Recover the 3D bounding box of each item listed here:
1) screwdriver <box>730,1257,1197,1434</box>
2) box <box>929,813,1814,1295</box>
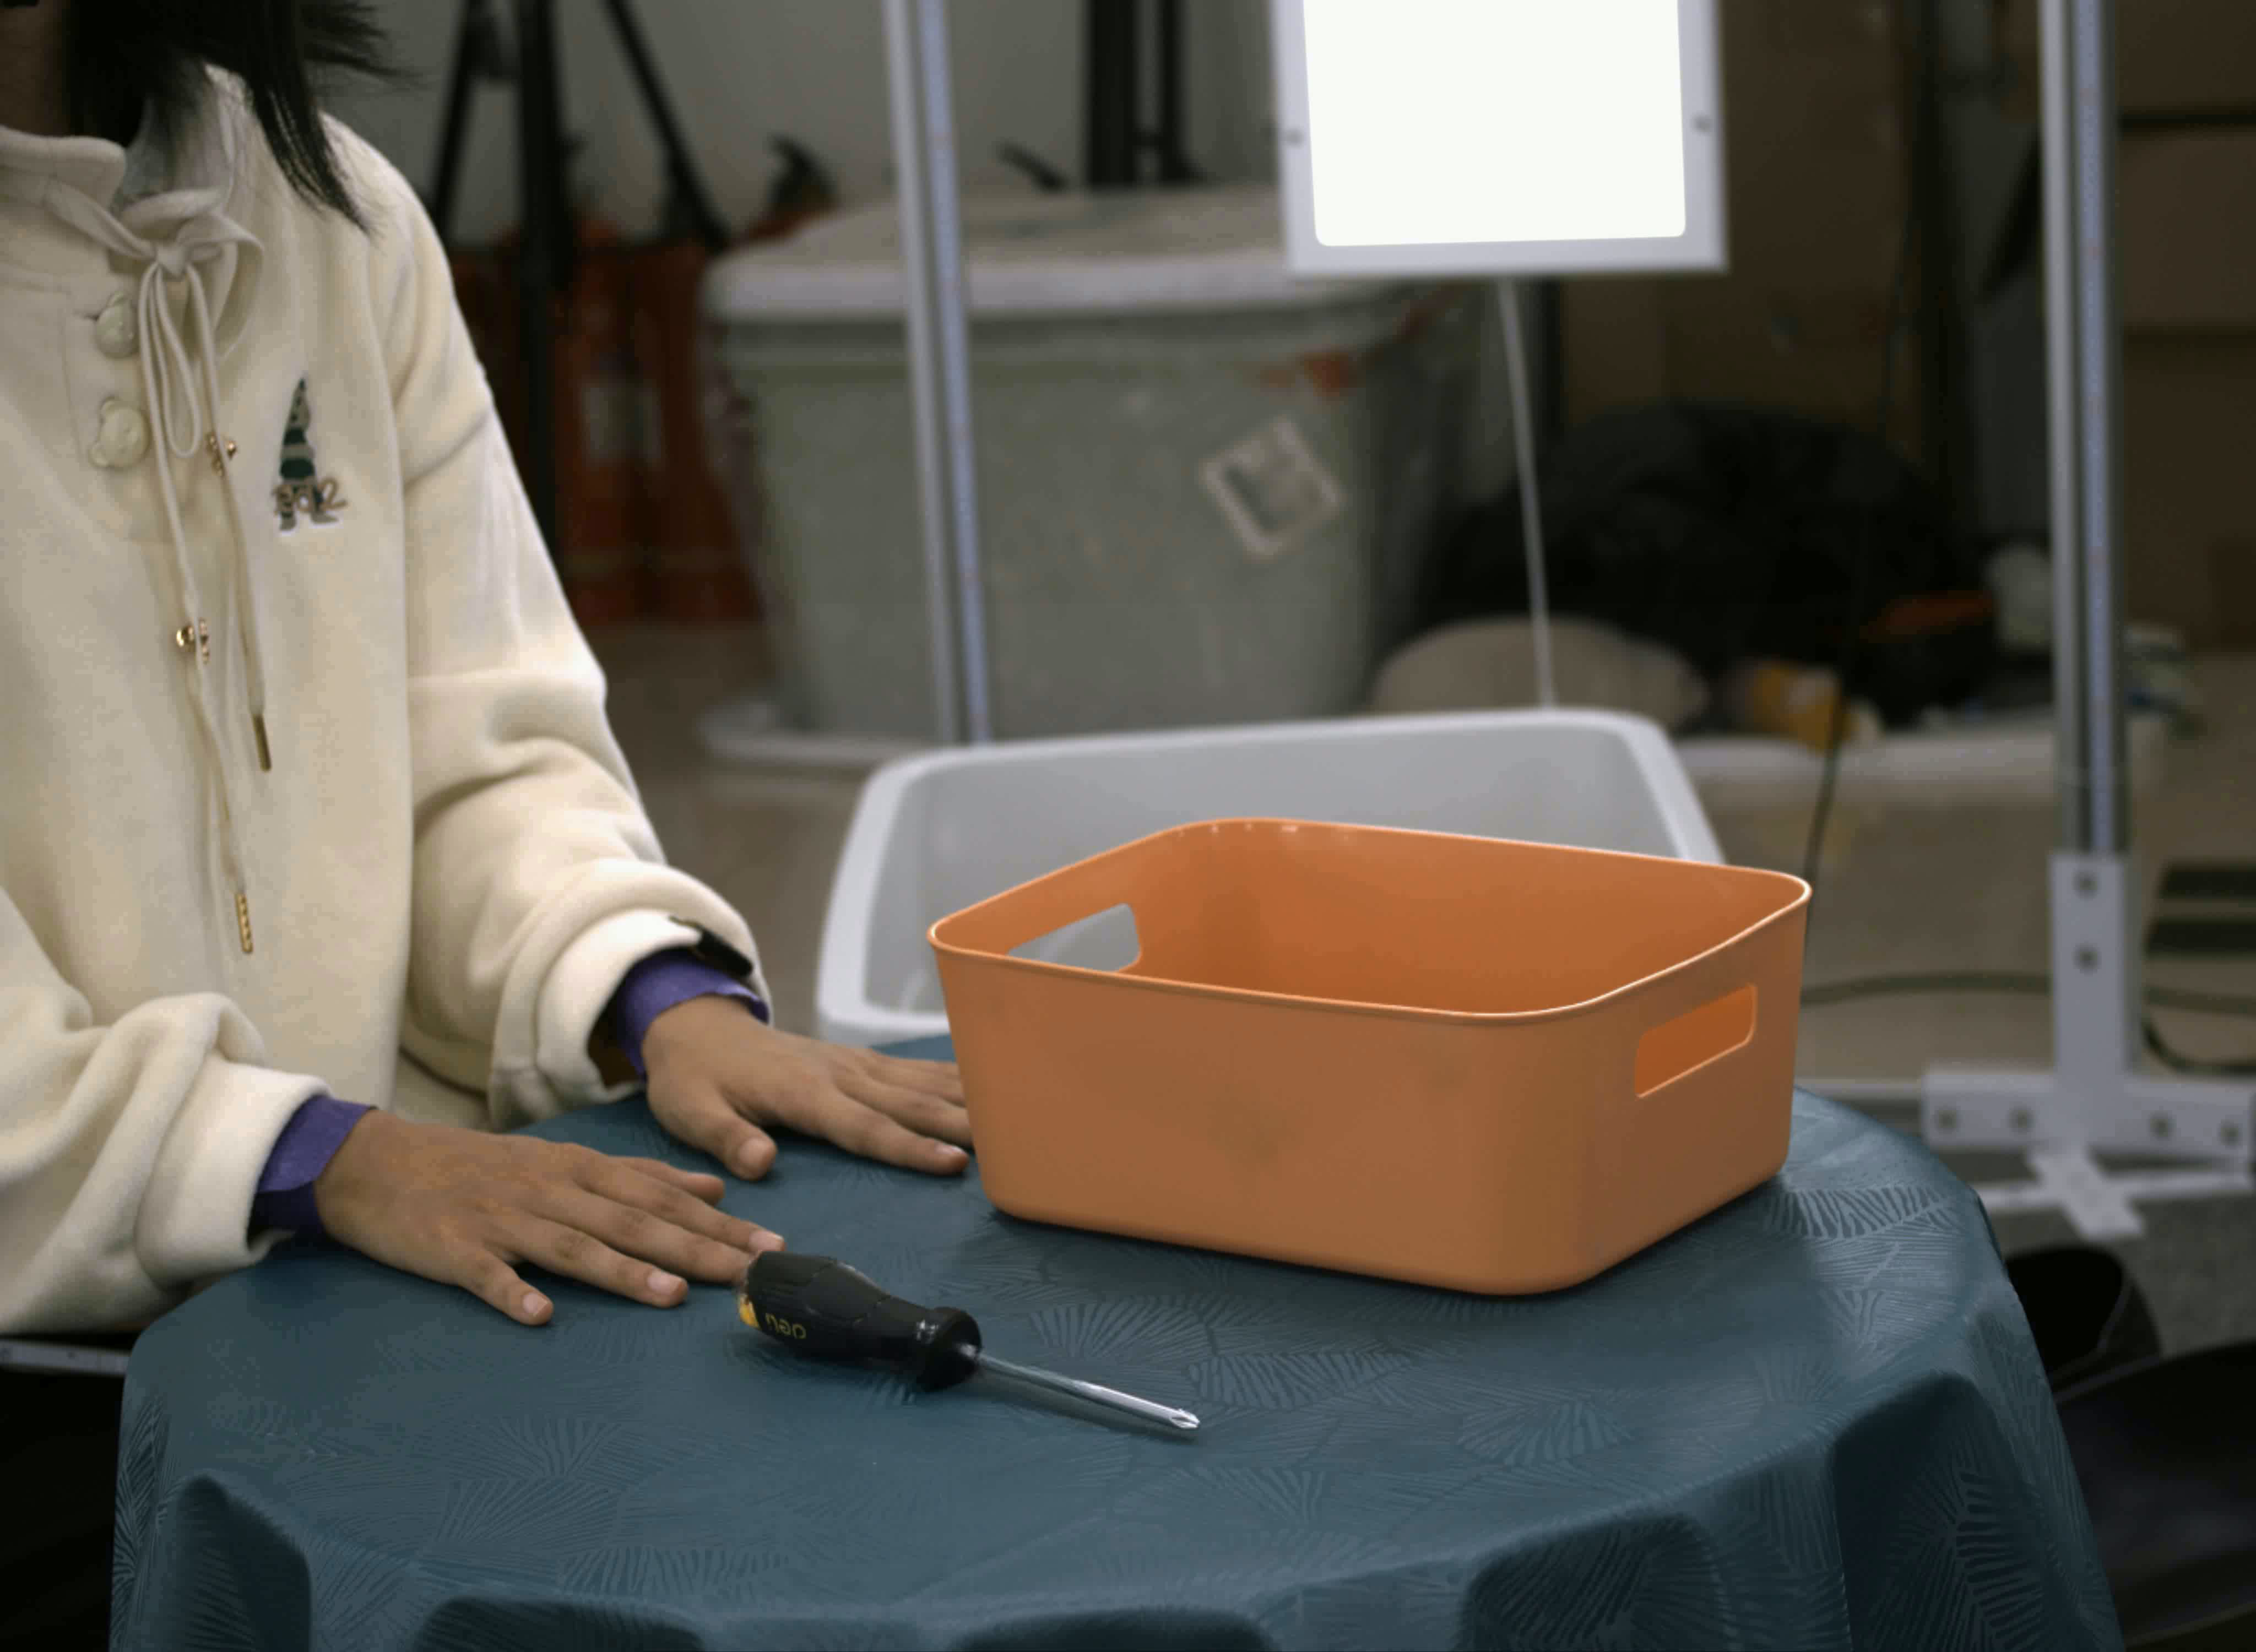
[{"bbox_3d":[-0.053,0.167,1.716,0.030,0.031,0.200,-17,22,-41],"label":"screwdriver"},{"bbox_3d":[0.085,0.074,1.861,0.279,0.103,0.194,6,18,38],"label":"box"}]
